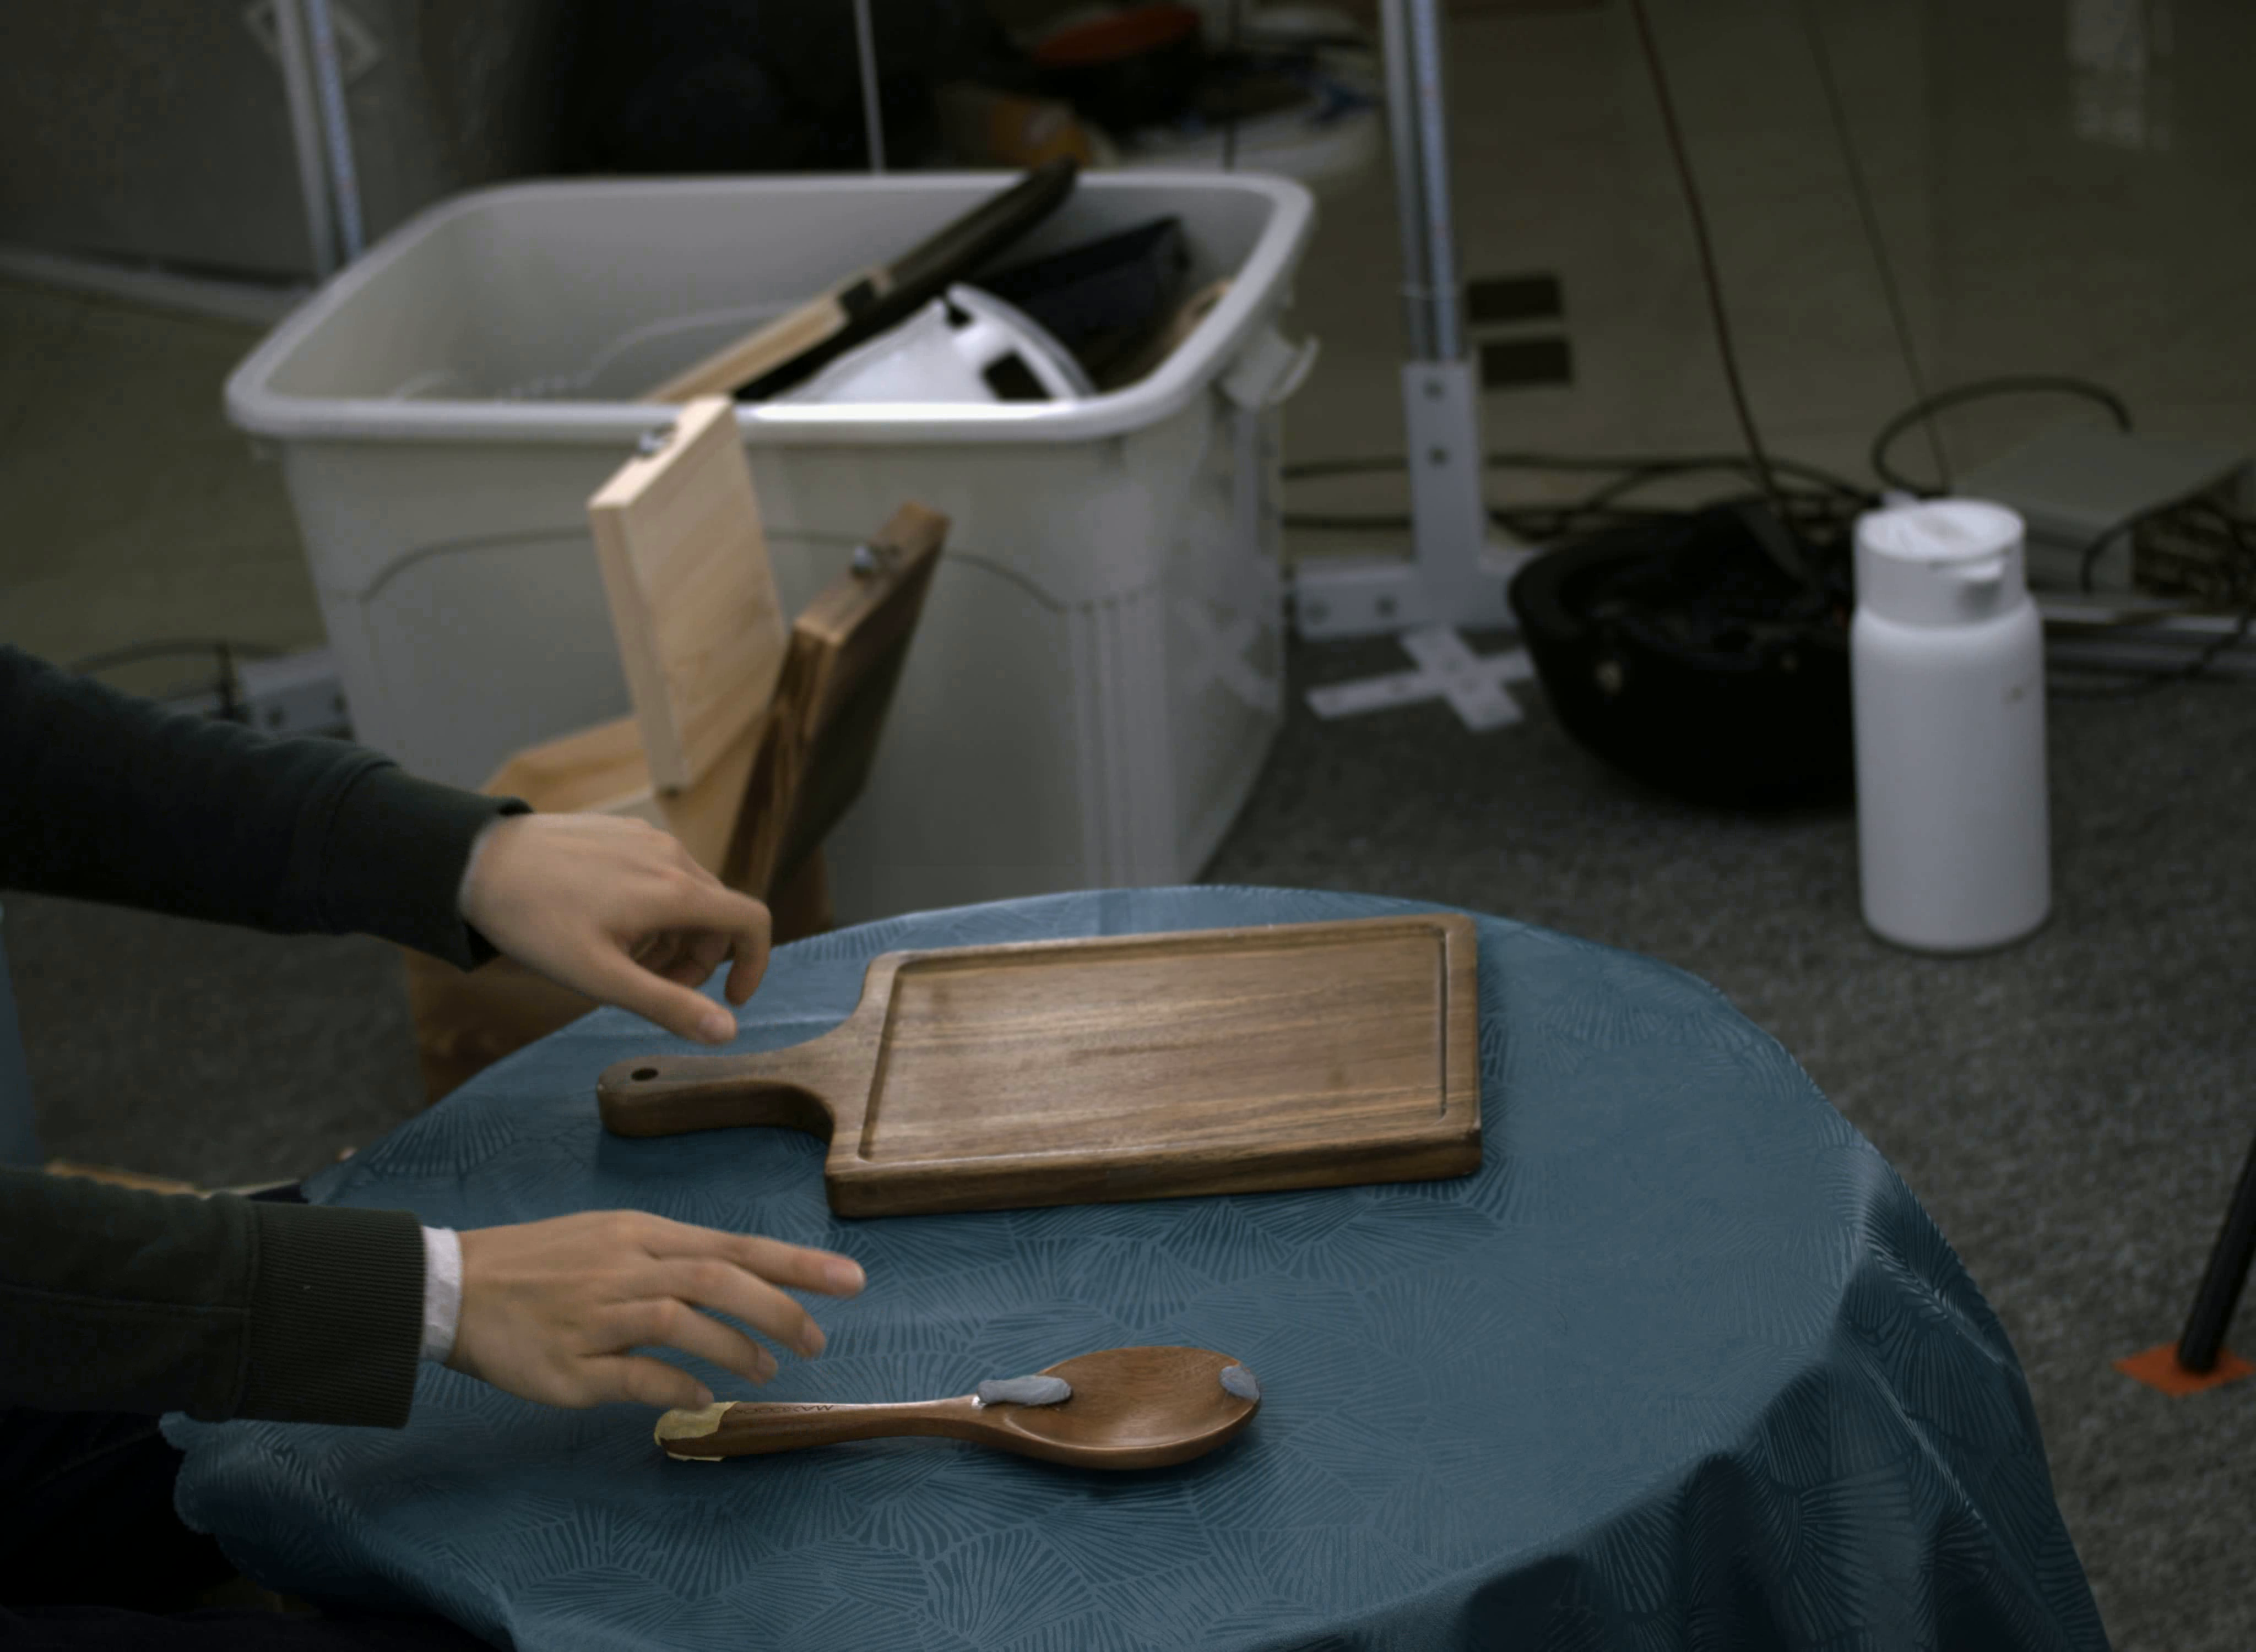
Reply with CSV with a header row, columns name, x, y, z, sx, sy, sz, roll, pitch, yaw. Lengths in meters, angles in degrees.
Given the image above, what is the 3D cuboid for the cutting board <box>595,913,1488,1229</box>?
name,x,y,z,sx,sy,sz,roll,pitch,yaw
cutting board,-0.035,0.098,2.230,0.351,0.023,0.198,-4,26,5

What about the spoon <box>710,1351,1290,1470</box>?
name,x,y,z,sx,sy,sz,roll,pitch,yaw
spoon,-0.046,0.210,2.009,0.215,0.017,0.074,-2,22,18
